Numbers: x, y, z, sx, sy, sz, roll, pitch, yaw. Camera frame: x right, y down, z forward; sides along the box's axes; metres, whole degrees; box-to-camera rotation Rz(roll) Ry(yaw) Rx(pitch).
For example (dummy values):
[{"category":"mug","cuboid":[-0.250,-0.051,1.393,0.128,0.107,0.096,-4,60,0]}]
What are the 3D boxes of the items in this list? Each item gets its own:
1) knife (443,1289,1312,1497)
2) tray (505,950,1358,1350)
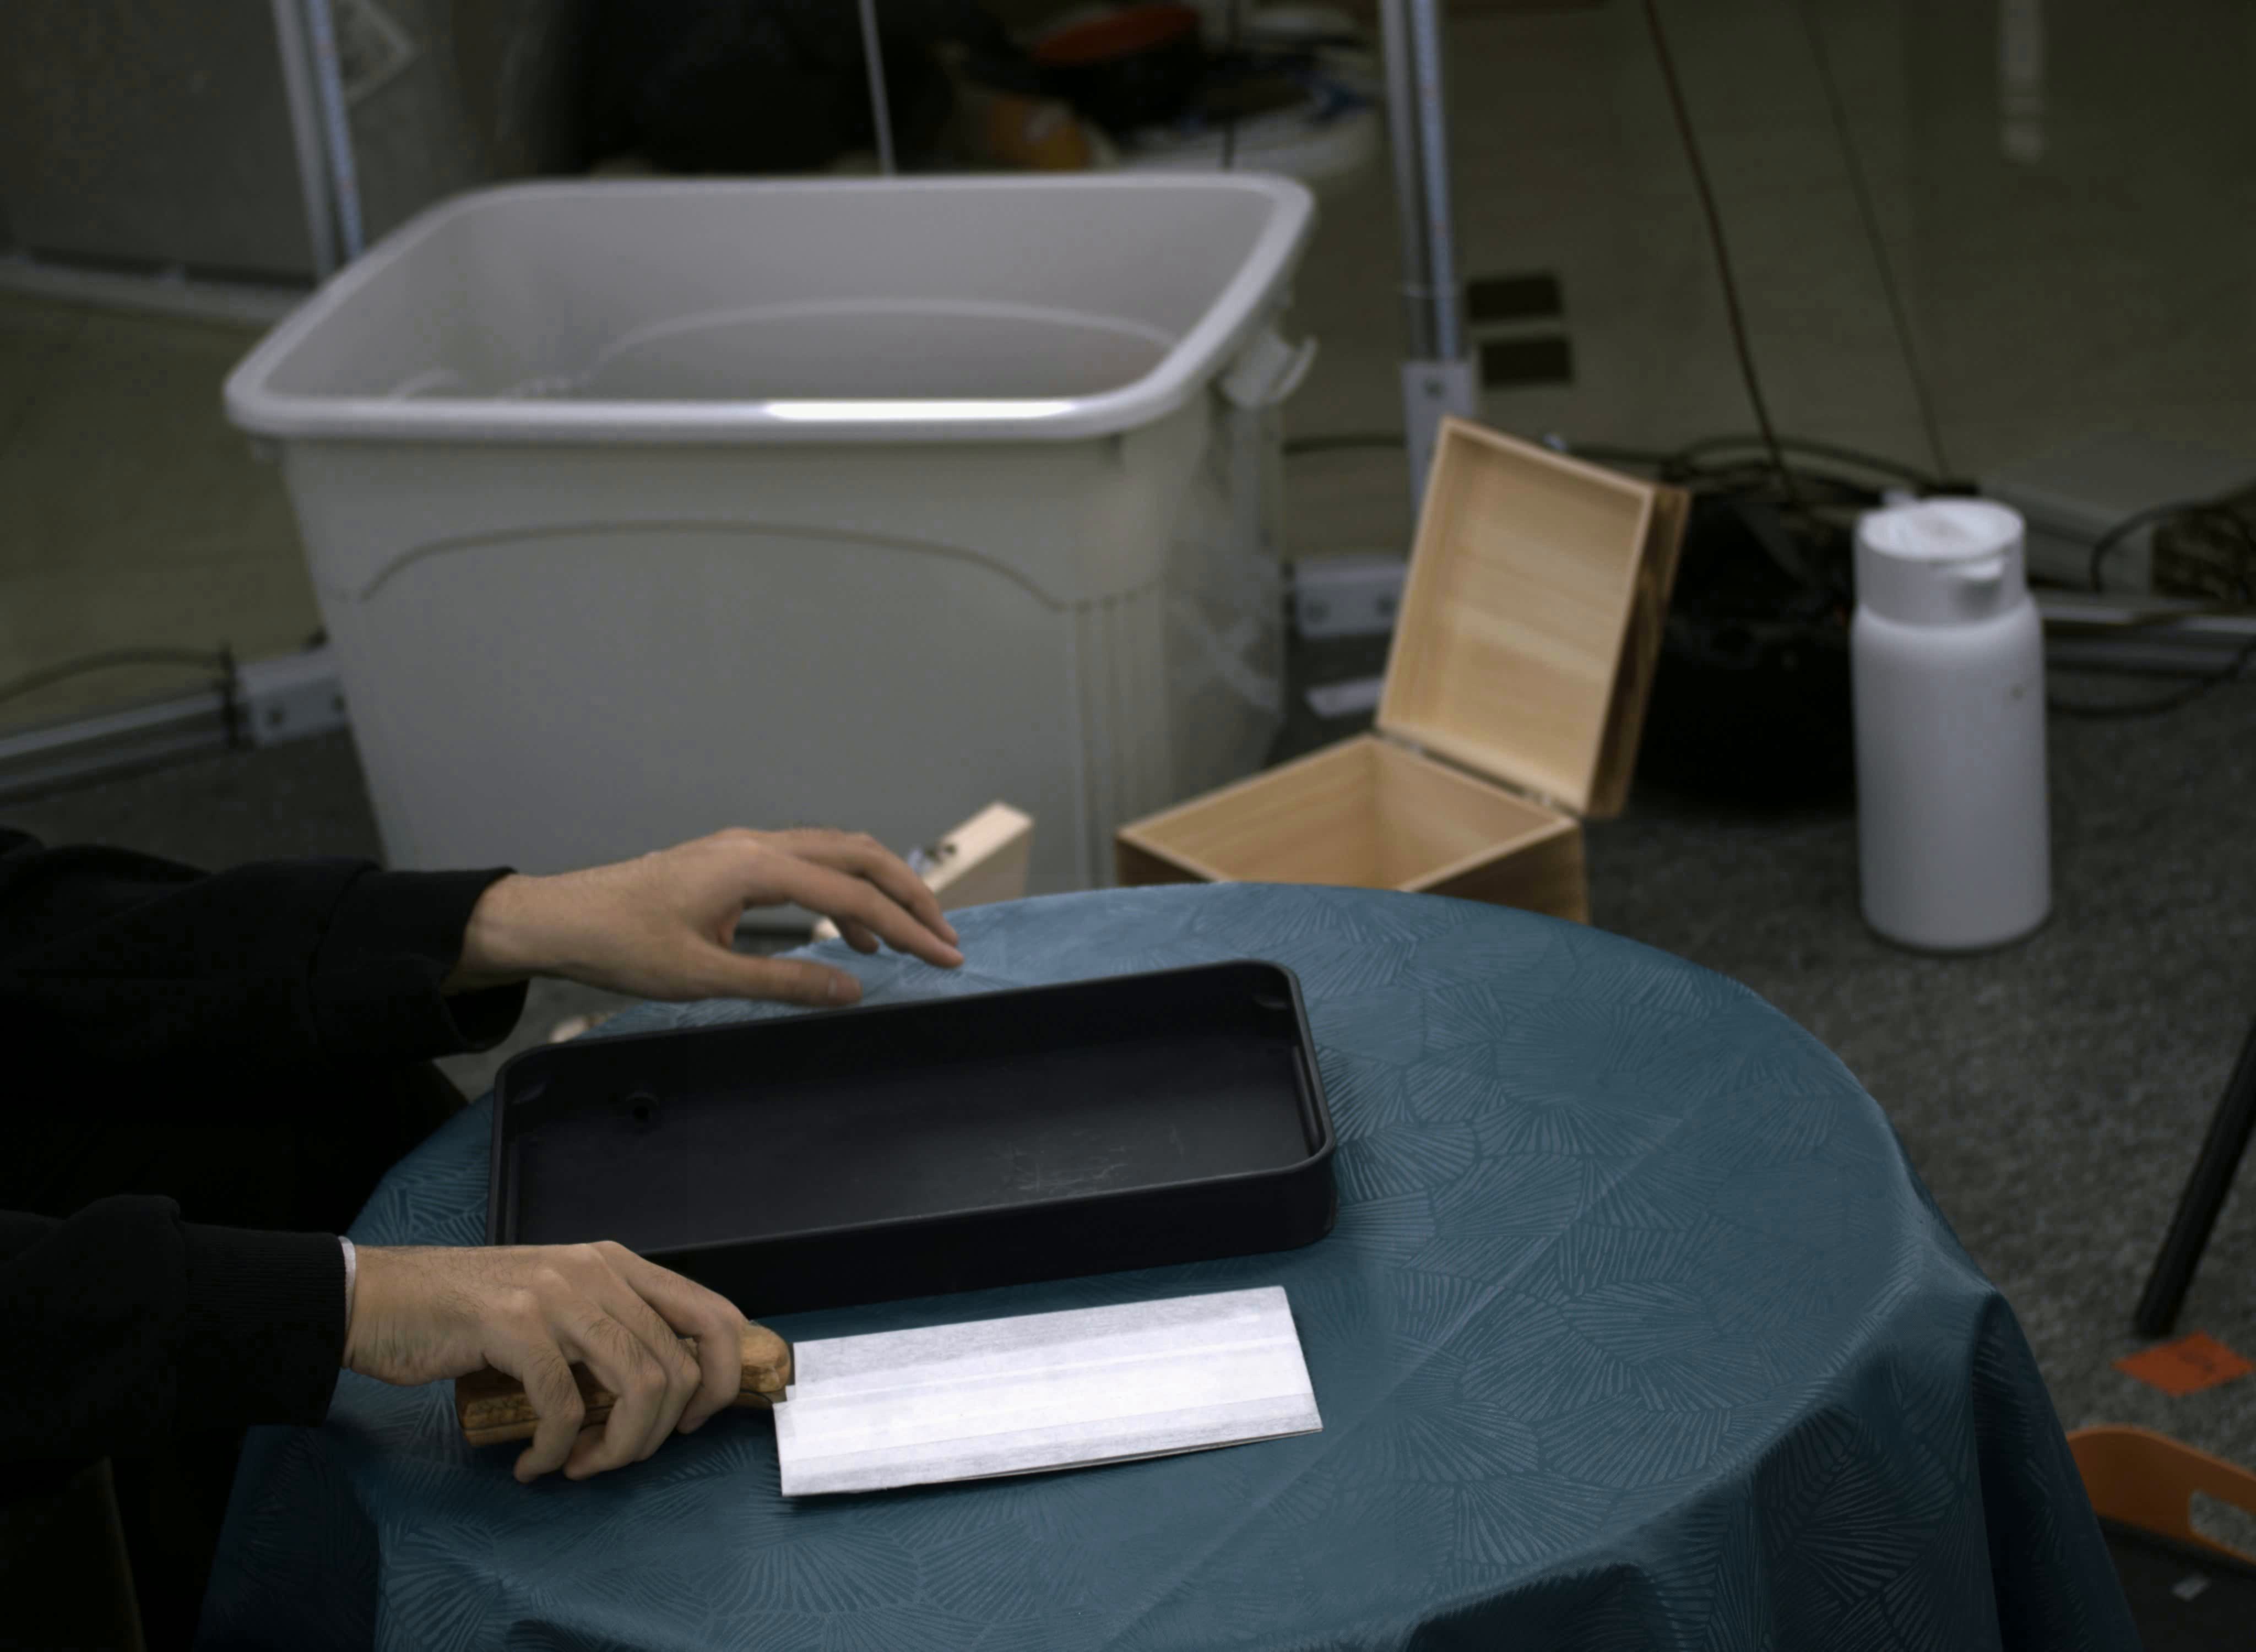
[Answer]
[{"category":"knife","cuboid":[-0.088,0.204,2.003,0.305,0.021,0.091,-6,31,-5]},{"category":"tray","cuboid":[-0.077,0.121,2.162,0.317,0.037,0.181,-8,25,-3]}]
